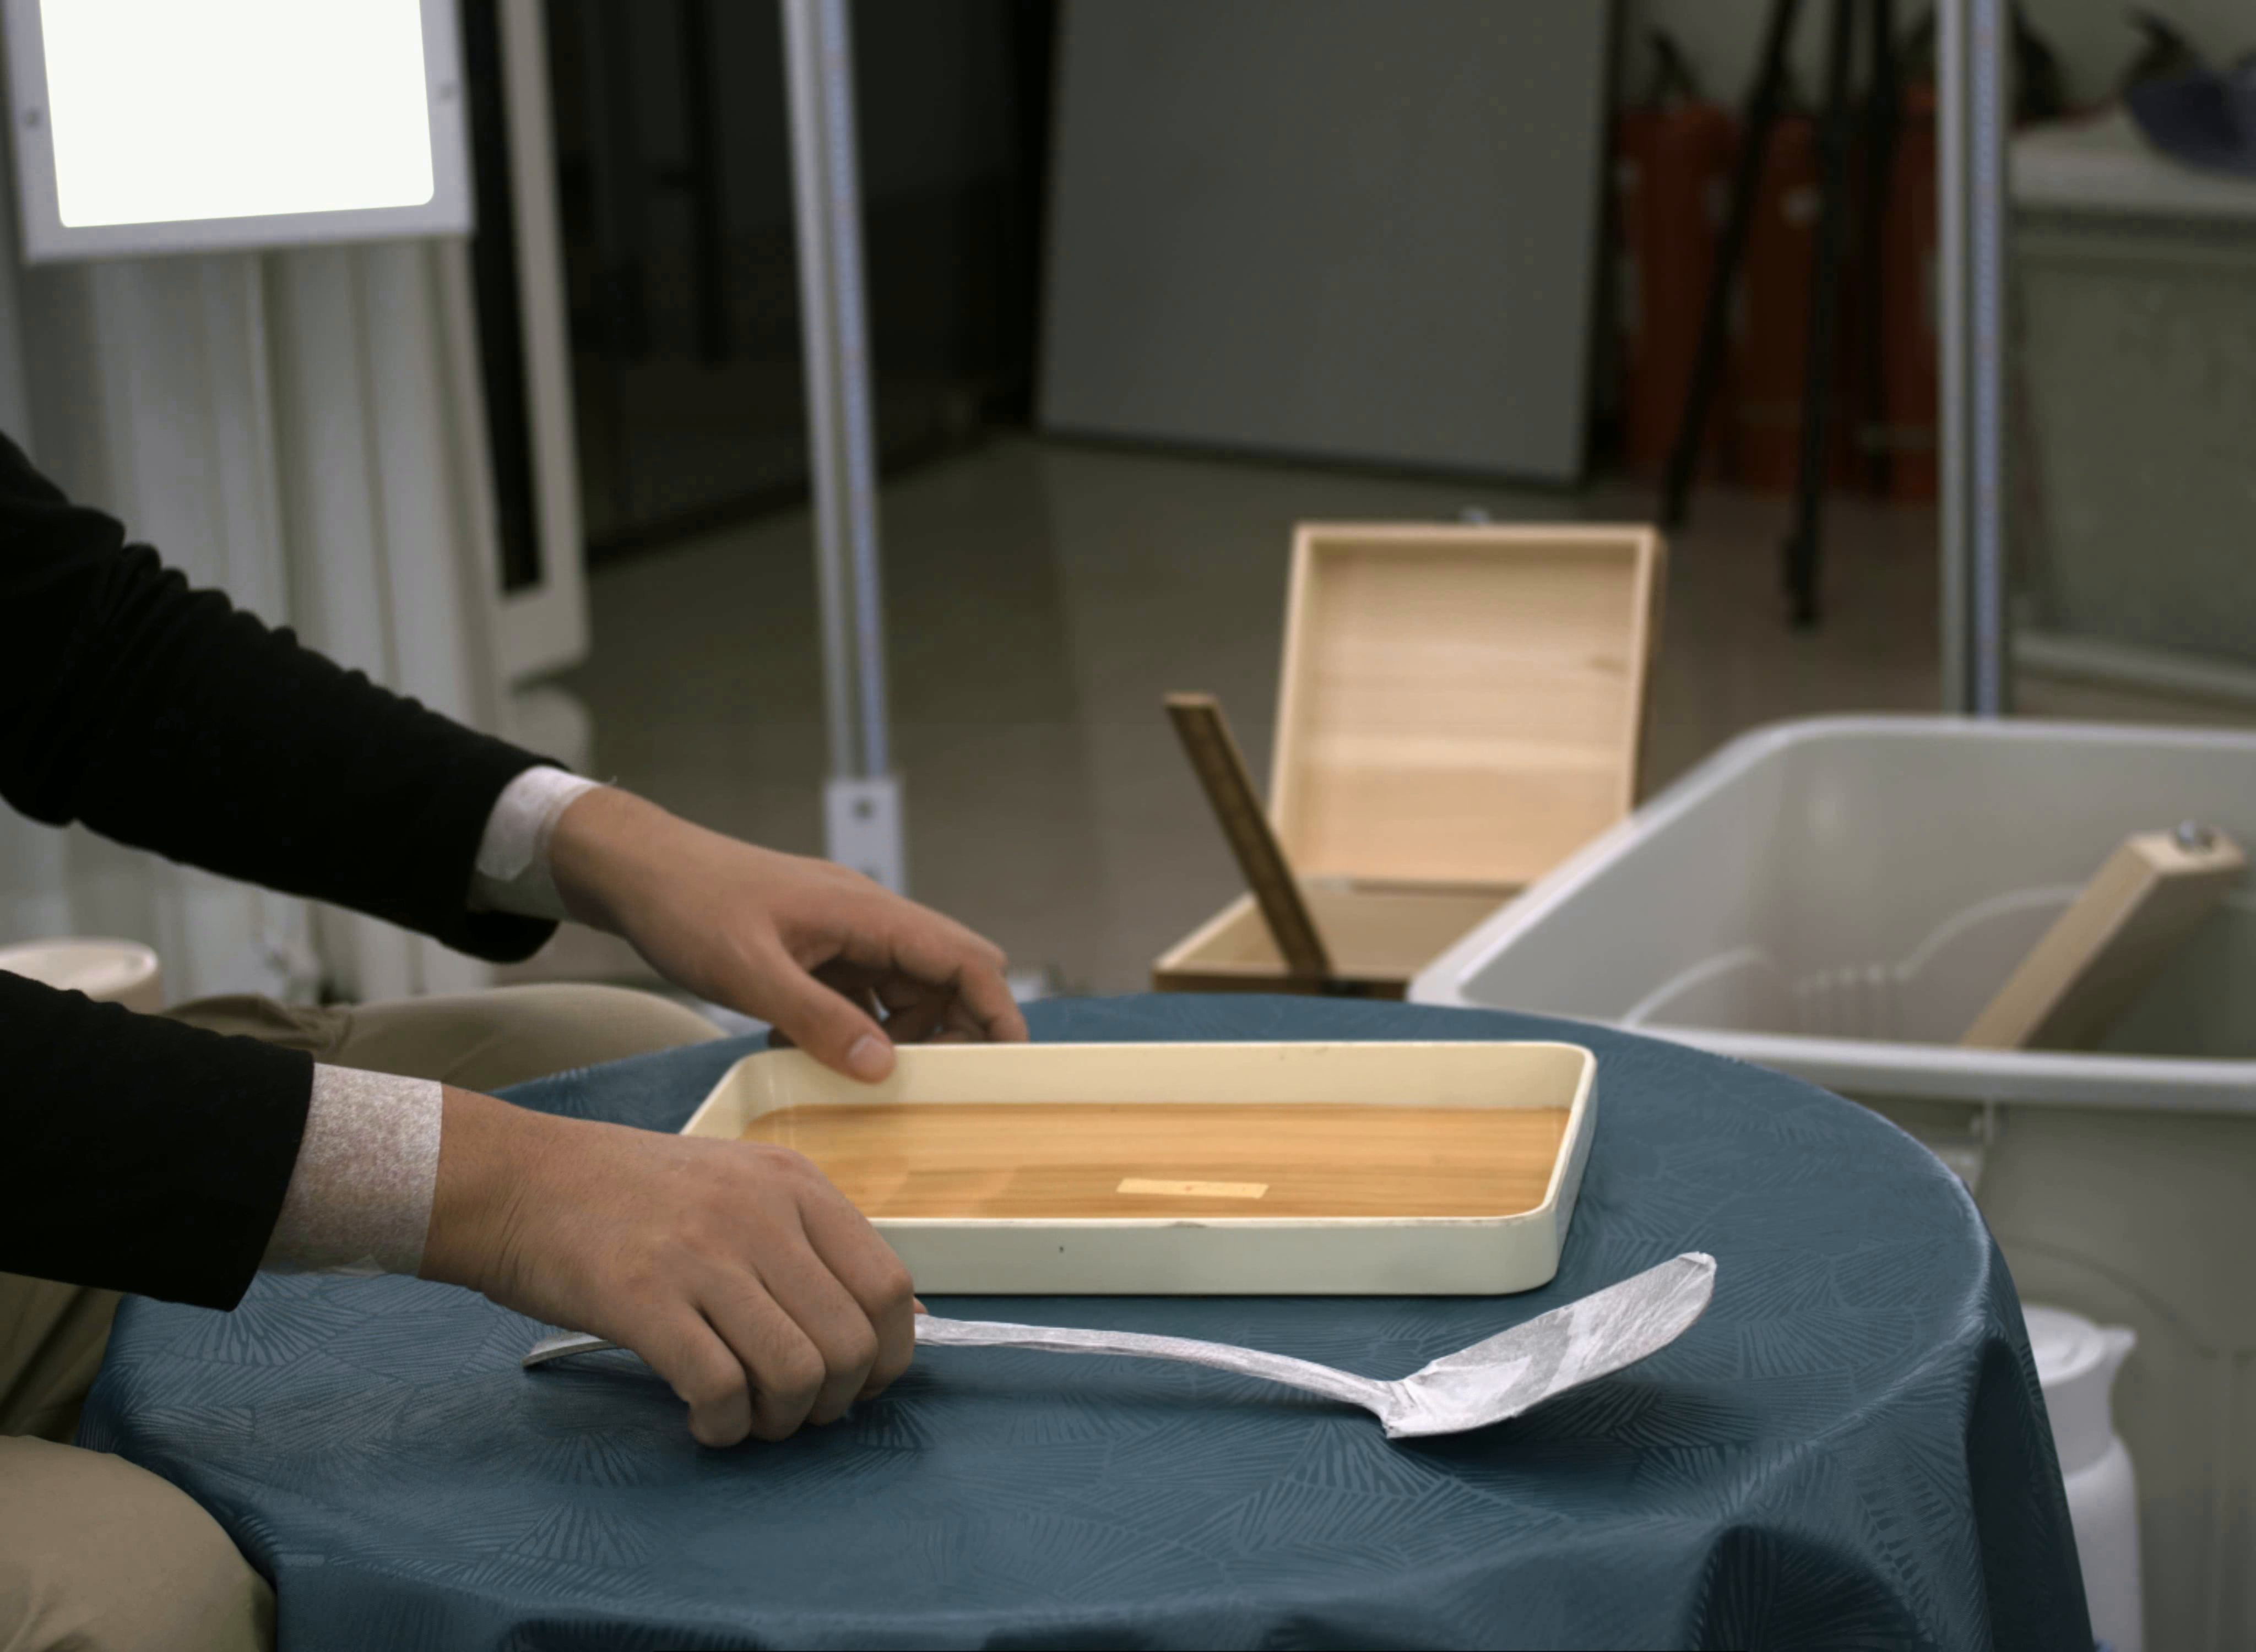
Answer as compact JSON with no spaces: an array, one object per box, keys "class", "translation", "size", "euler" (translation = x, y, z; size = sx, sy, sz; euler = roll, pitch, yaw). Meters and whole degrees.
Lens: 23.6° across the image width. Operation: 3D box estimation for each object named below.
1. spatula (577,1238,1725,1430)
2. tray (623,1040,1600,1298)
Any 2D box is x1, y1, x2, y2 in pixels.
[{"class":"spatula","translation":[-0.003,0.148,1.582],"size":[0.364,0.045,0.098],"euler":[1,16,20]},{"class":"tray","translation":[-0.001,0.111,1.755],"size":[0.298,0.028,0.190],"euler":[-1,14,12]}]
